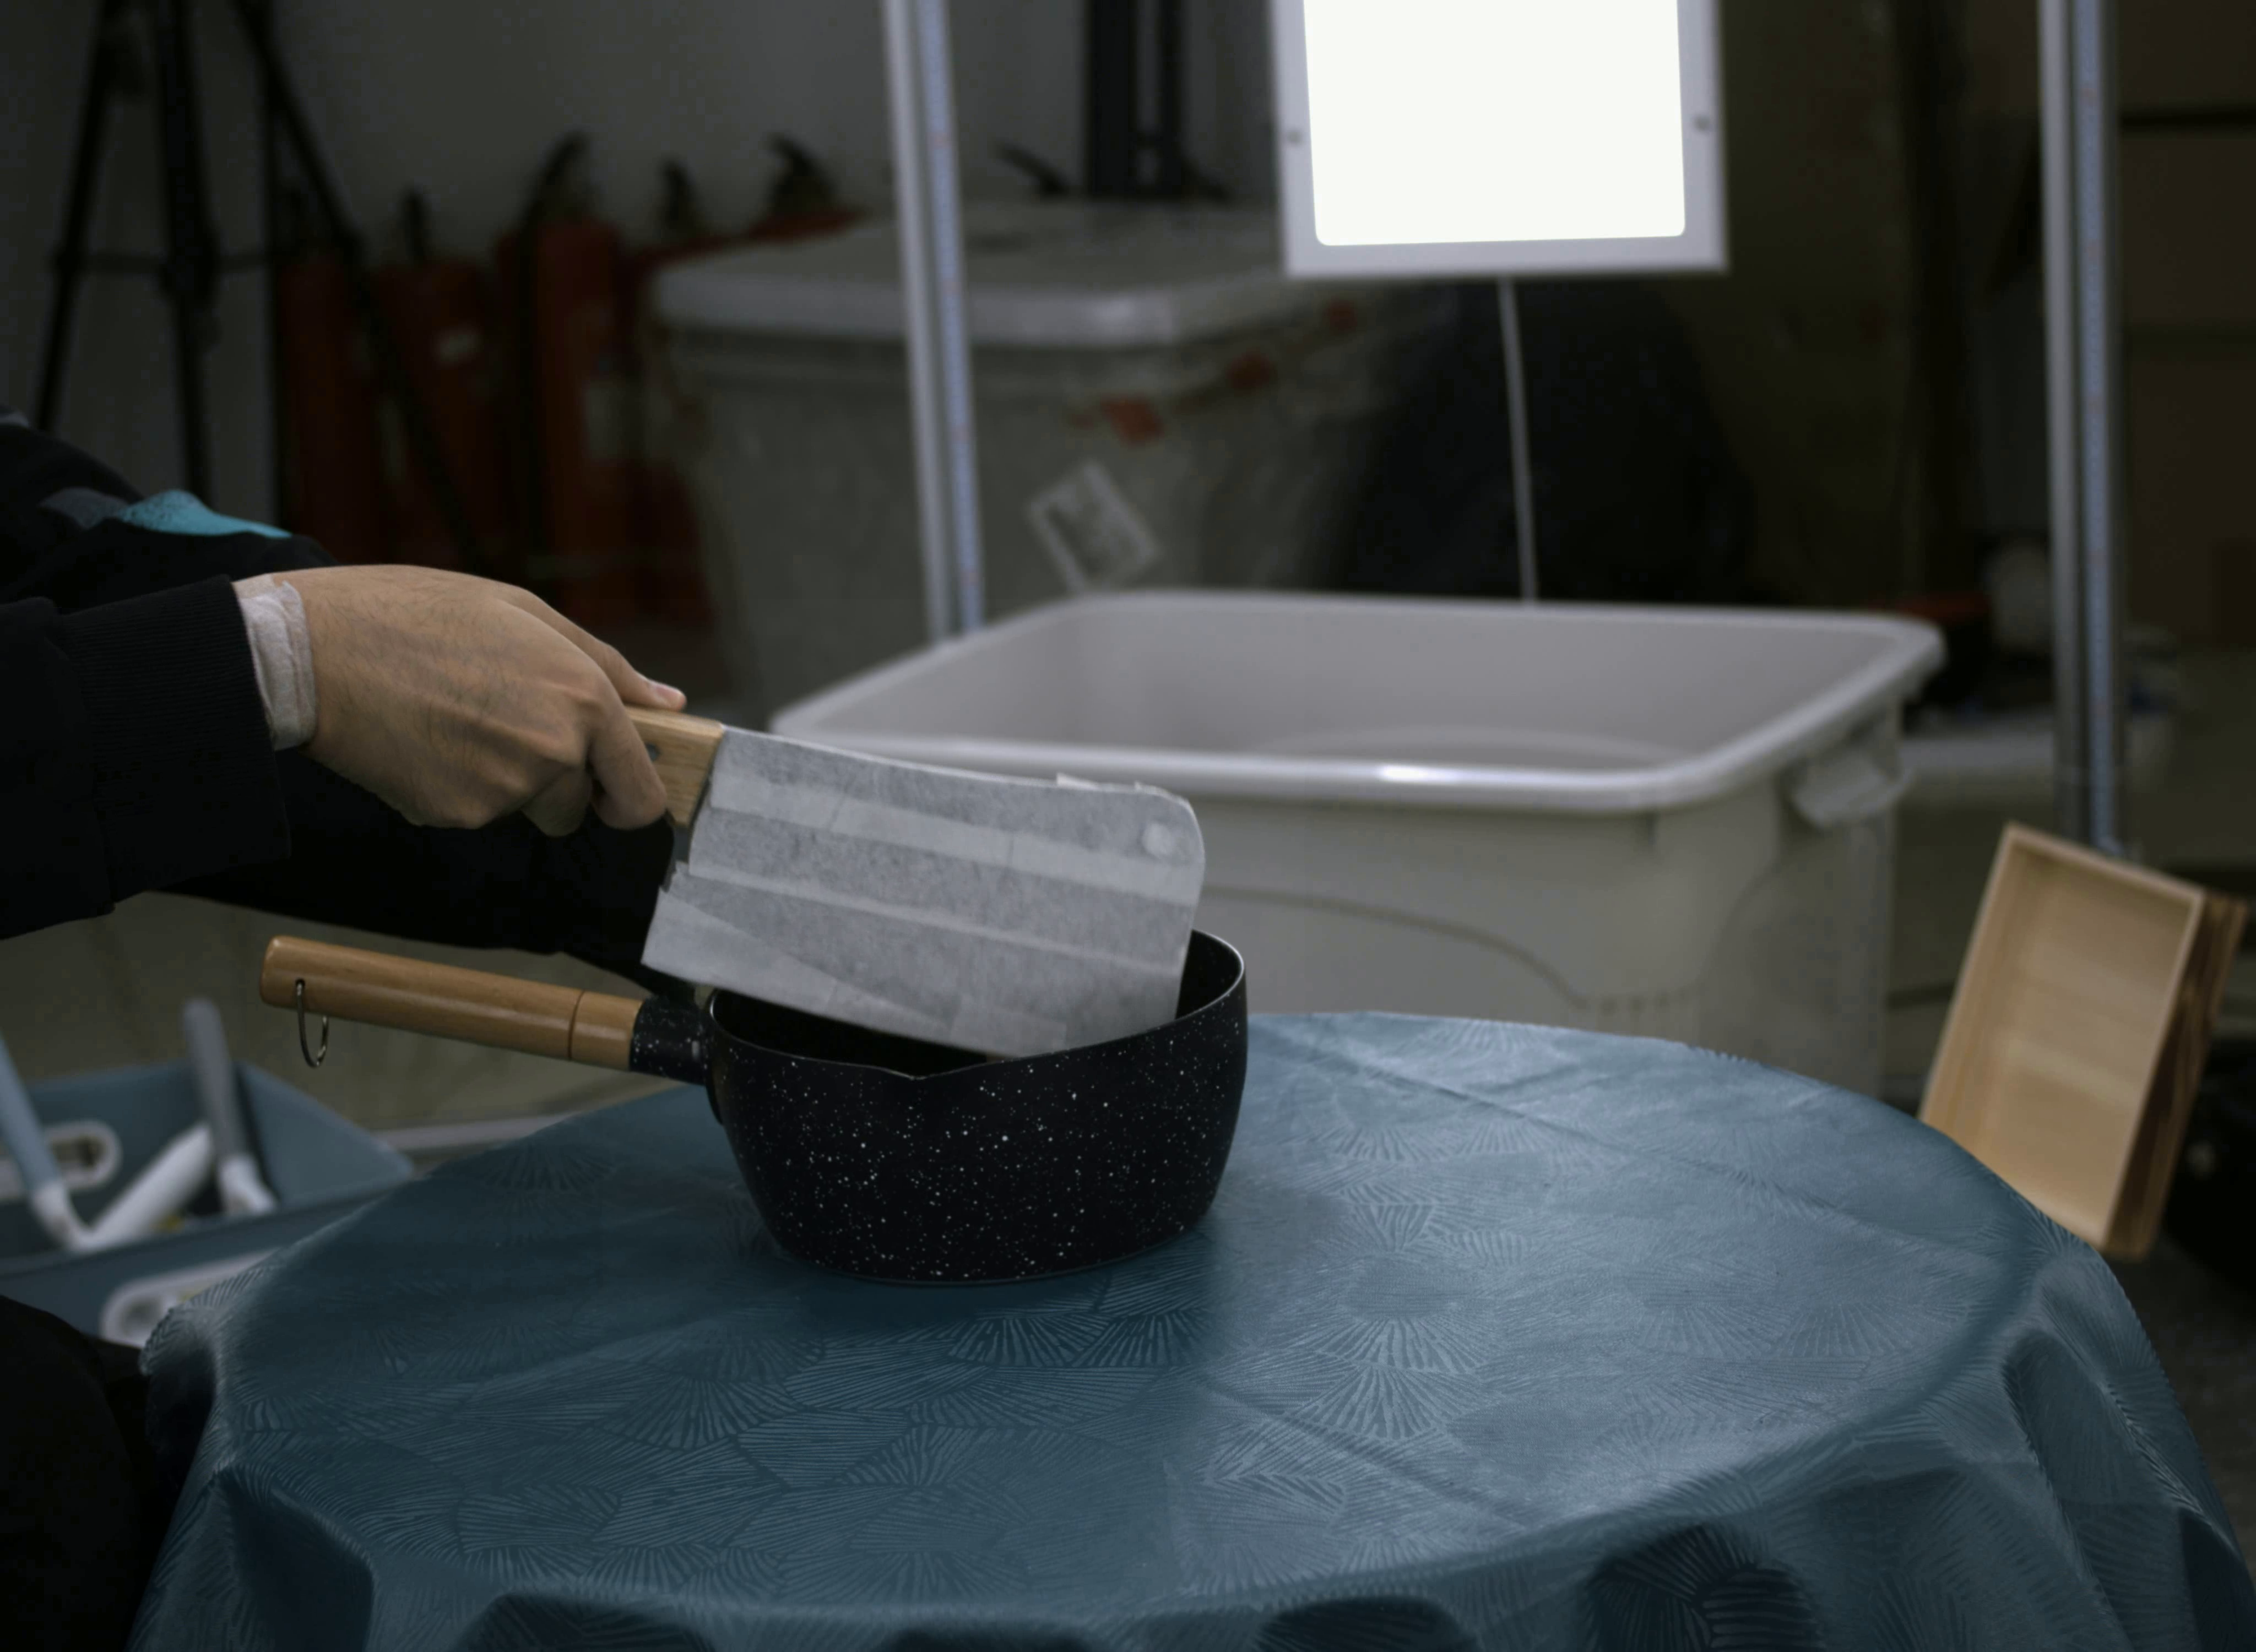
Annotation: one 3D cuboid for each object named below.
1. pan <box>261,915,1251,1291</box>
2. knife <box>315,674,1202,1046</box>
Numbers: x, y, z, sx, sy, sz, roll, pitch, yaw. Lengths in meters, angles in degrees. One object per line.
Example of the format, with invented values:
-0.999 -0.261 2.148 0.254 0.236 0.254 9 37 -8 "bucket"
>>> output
-0.127 0.085 1.882 0.344 0.108 0.206 -2 15 8 "pan"
-0.119 0.005 1.838 0.311 0.114 0.022 17 9 -13 "knife"
